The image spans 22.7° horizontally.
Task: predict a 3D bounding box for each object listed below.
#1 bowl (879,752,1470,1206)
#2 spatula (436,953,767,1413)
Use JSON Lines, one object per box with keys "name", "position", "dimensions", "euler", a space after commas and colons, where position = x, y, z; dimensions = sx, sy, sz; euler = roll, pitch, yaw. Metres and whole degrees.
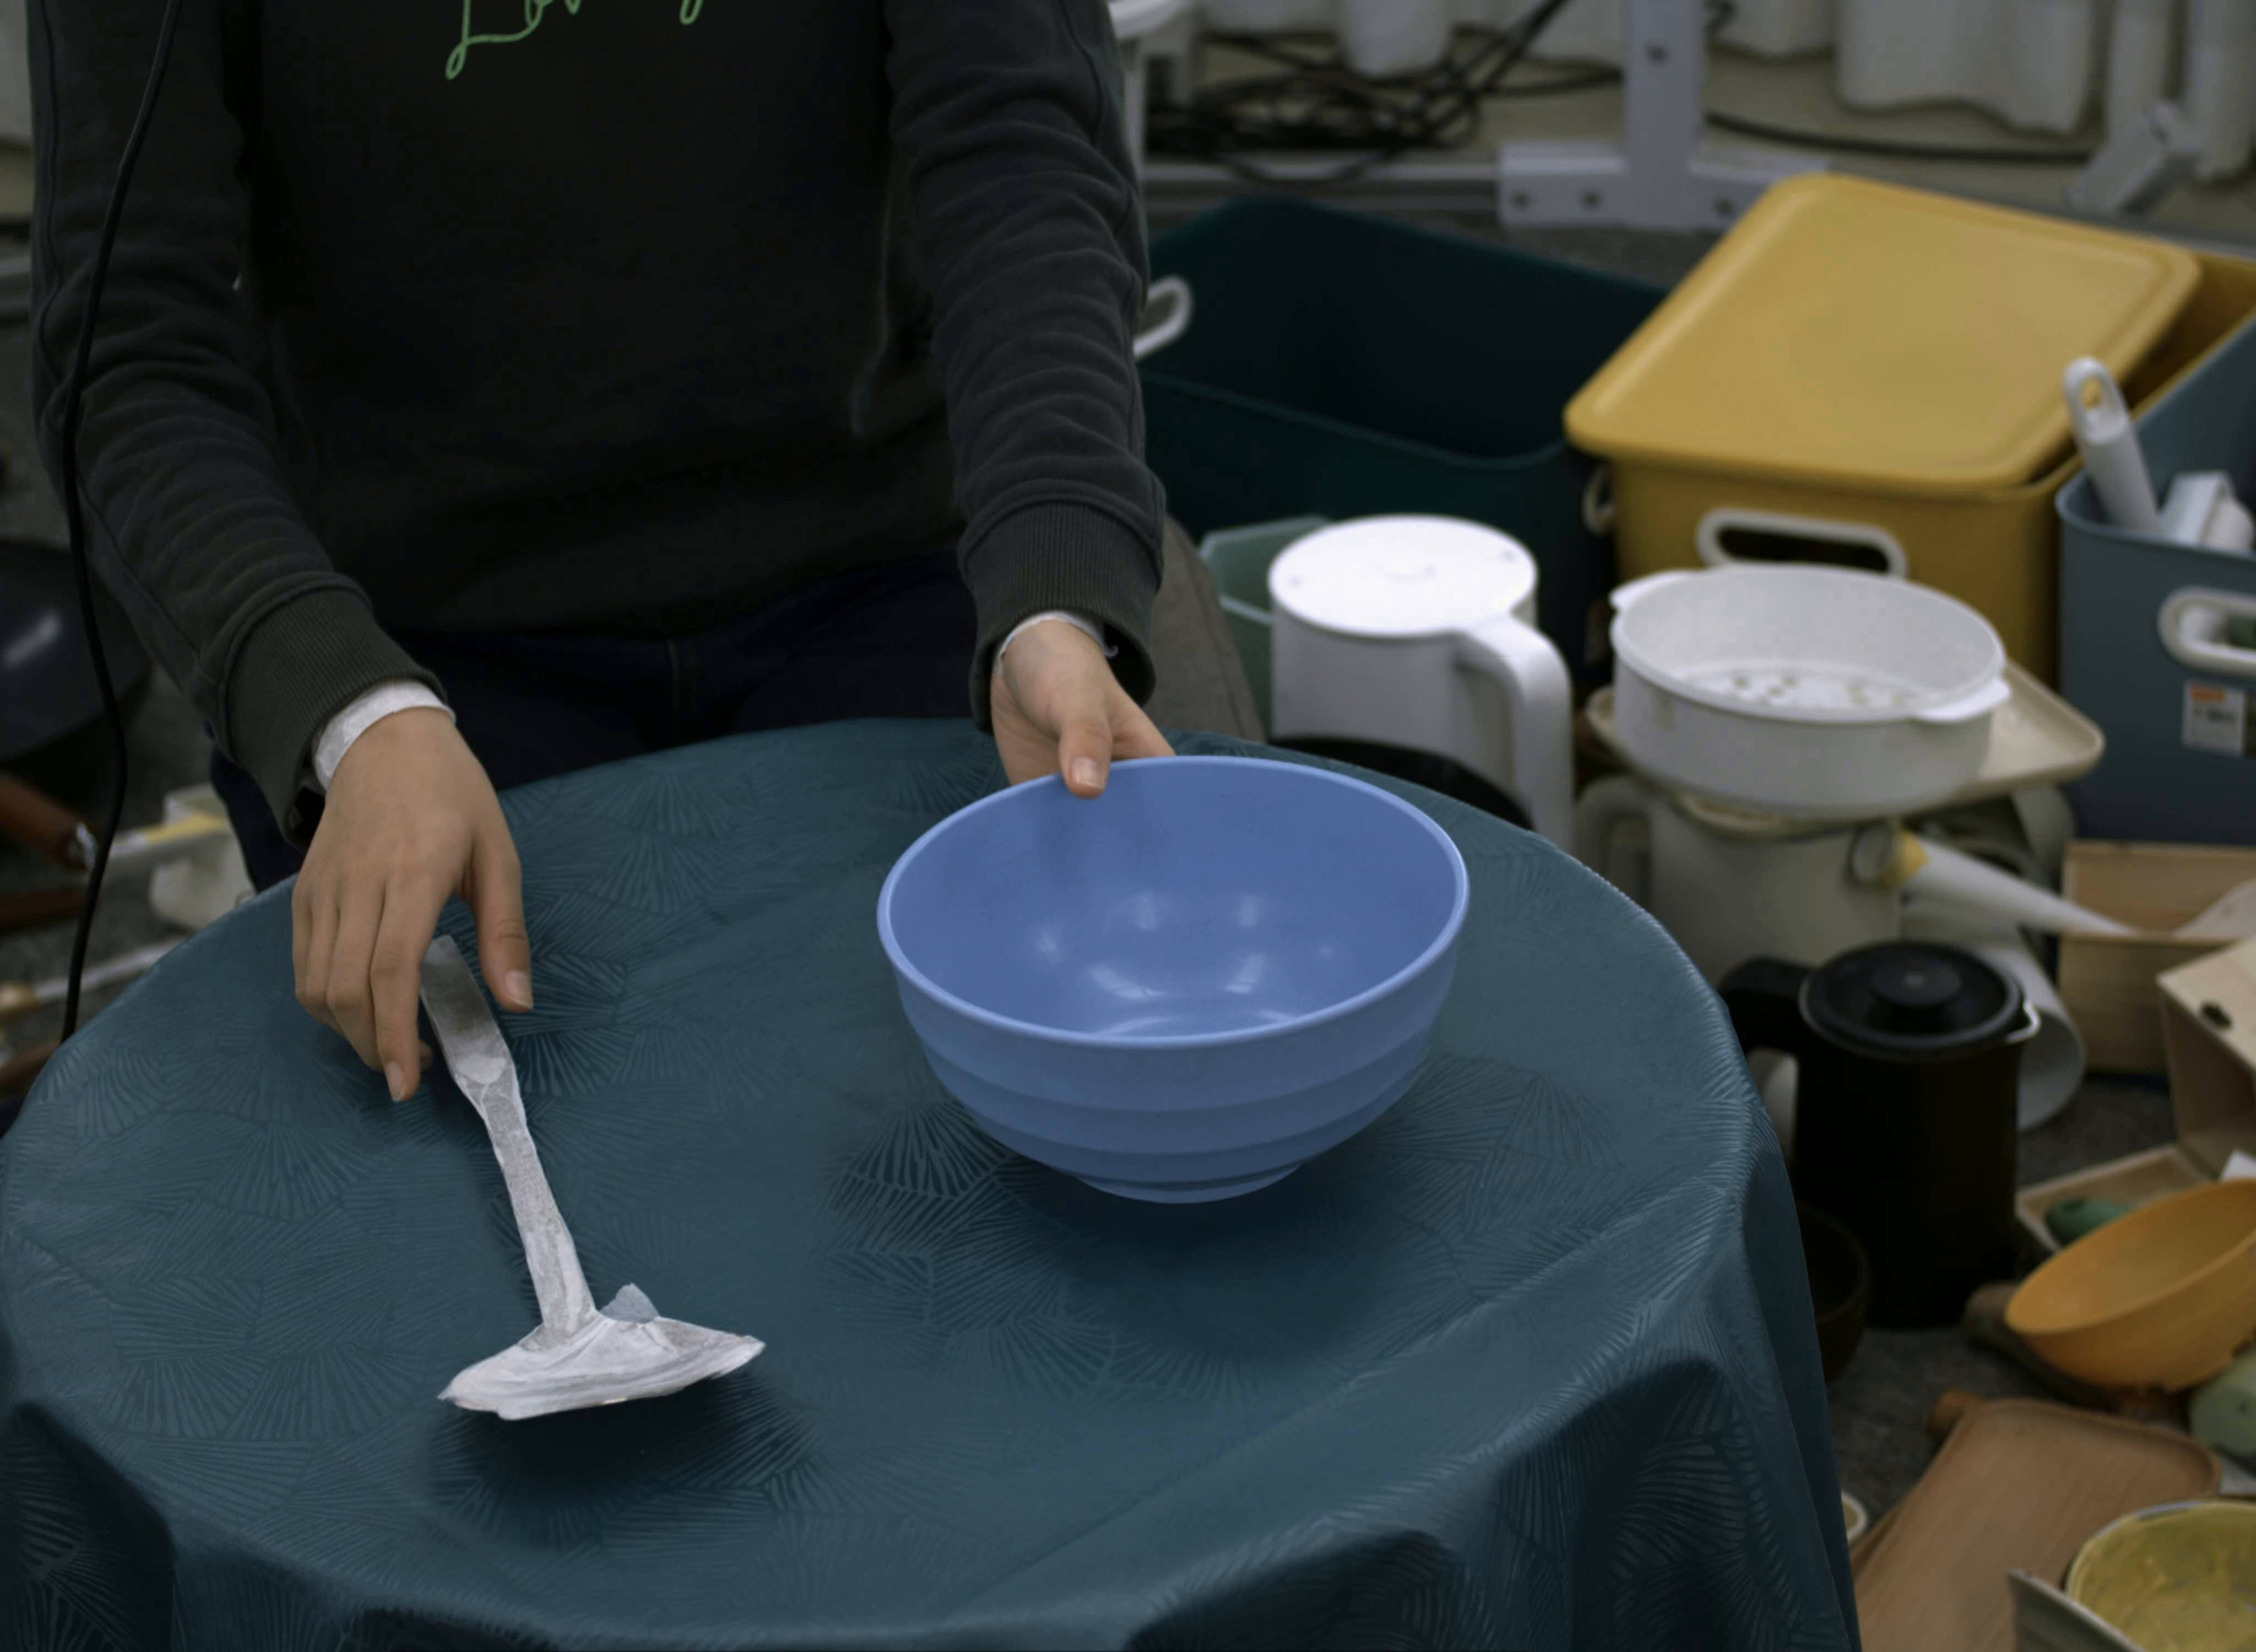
{"name": "bowl", "position": [0.018, 0.062, 1.872], "dimensions": [0.195, 0.094, 0.199], "euler": [-3, 28, 2]}
{"name": "spatula", "position": [-0.198, 0.110, 1.861], "dimensions": [0.099, 0.044, 0.369], "euler": [-11, 28, -11]}
